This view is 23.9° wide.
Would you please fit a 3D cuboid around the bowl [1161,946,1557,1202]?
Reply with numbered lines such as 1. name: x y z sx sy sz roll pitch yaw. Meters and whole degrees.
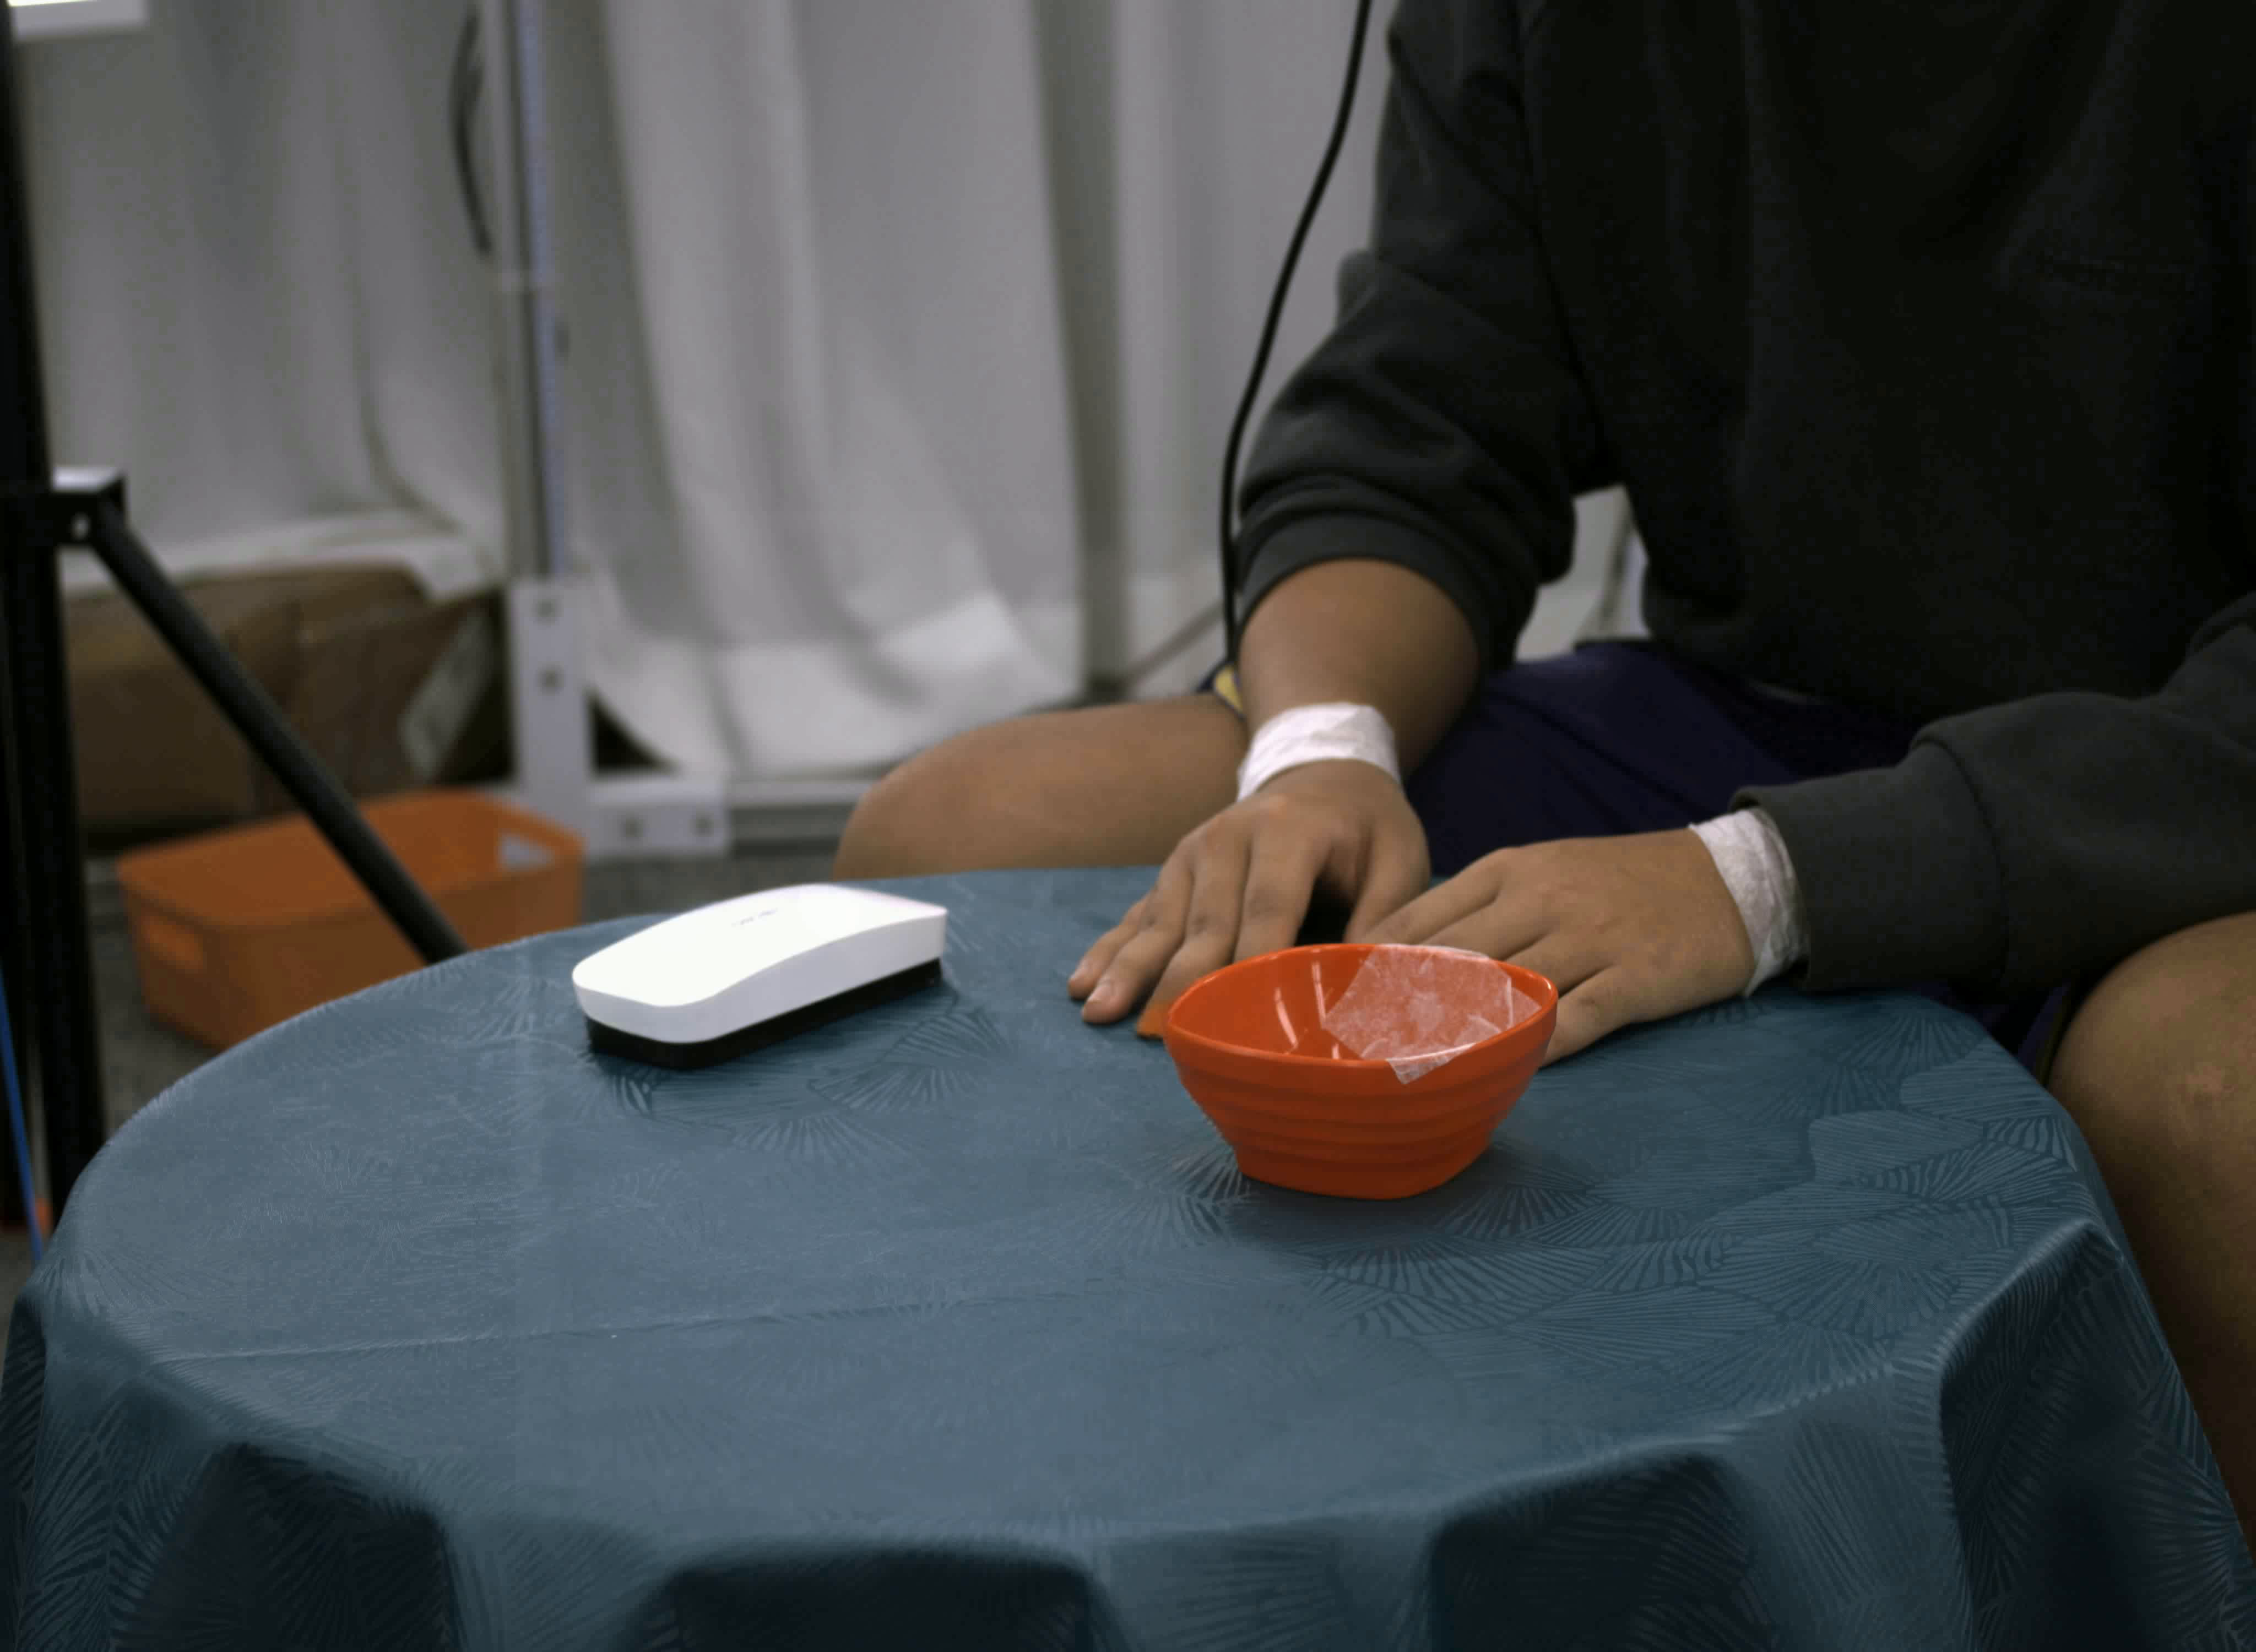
1. bowl: 0.069 0.076 1.570 0.118 0.051 0.119 -3 15 -1

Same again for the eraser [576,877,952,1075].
1. eraser: -0.117 0.045 1.741 0.065 0.034 0.128 14 24 42
